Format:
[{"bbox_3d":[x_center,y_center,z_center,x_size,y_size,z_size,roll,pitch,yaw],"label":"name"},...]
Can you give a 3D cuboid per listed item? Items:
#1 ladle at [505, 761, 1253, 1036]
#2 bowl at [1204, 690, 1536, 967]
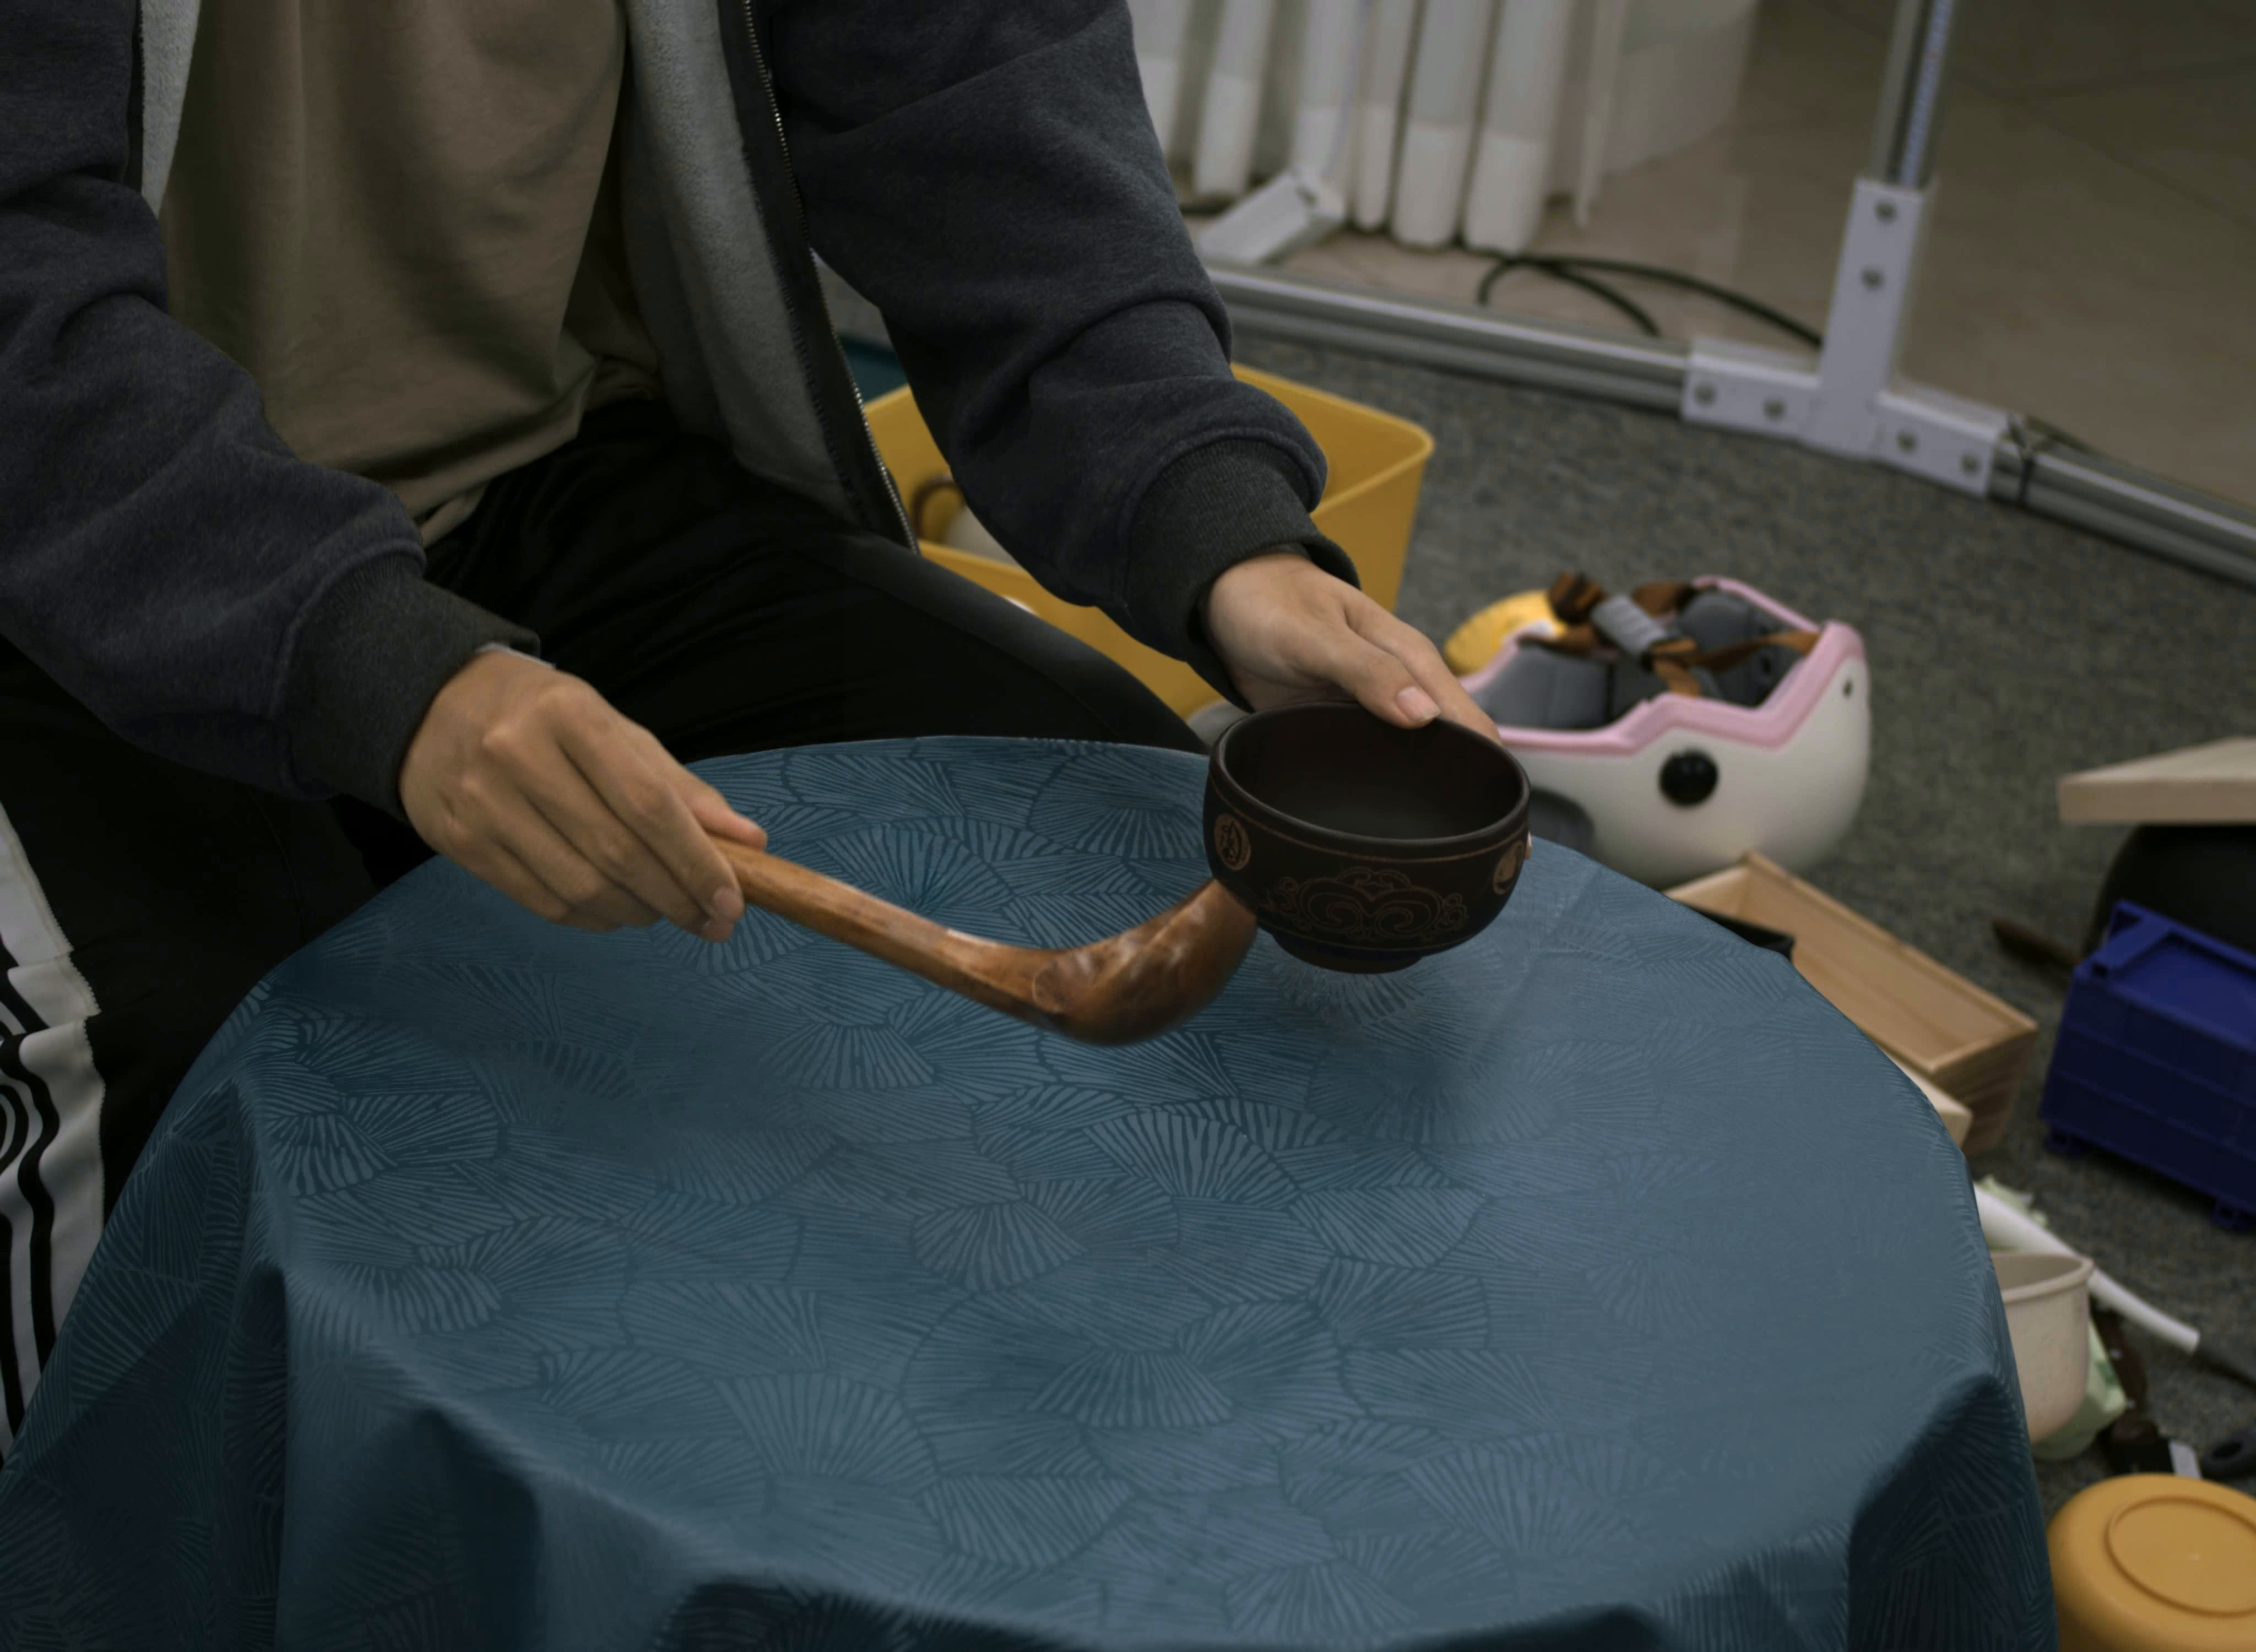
[{"bbox_3d":[-0.087,0.004,1.757,0.275,0.076,0.082,21,30,21],"label":"ladle"},{"bbox_3d":[0.084,0.007,1.908,0.117,0.069,0.119,5,27,-3],"label":"bowl"}]
